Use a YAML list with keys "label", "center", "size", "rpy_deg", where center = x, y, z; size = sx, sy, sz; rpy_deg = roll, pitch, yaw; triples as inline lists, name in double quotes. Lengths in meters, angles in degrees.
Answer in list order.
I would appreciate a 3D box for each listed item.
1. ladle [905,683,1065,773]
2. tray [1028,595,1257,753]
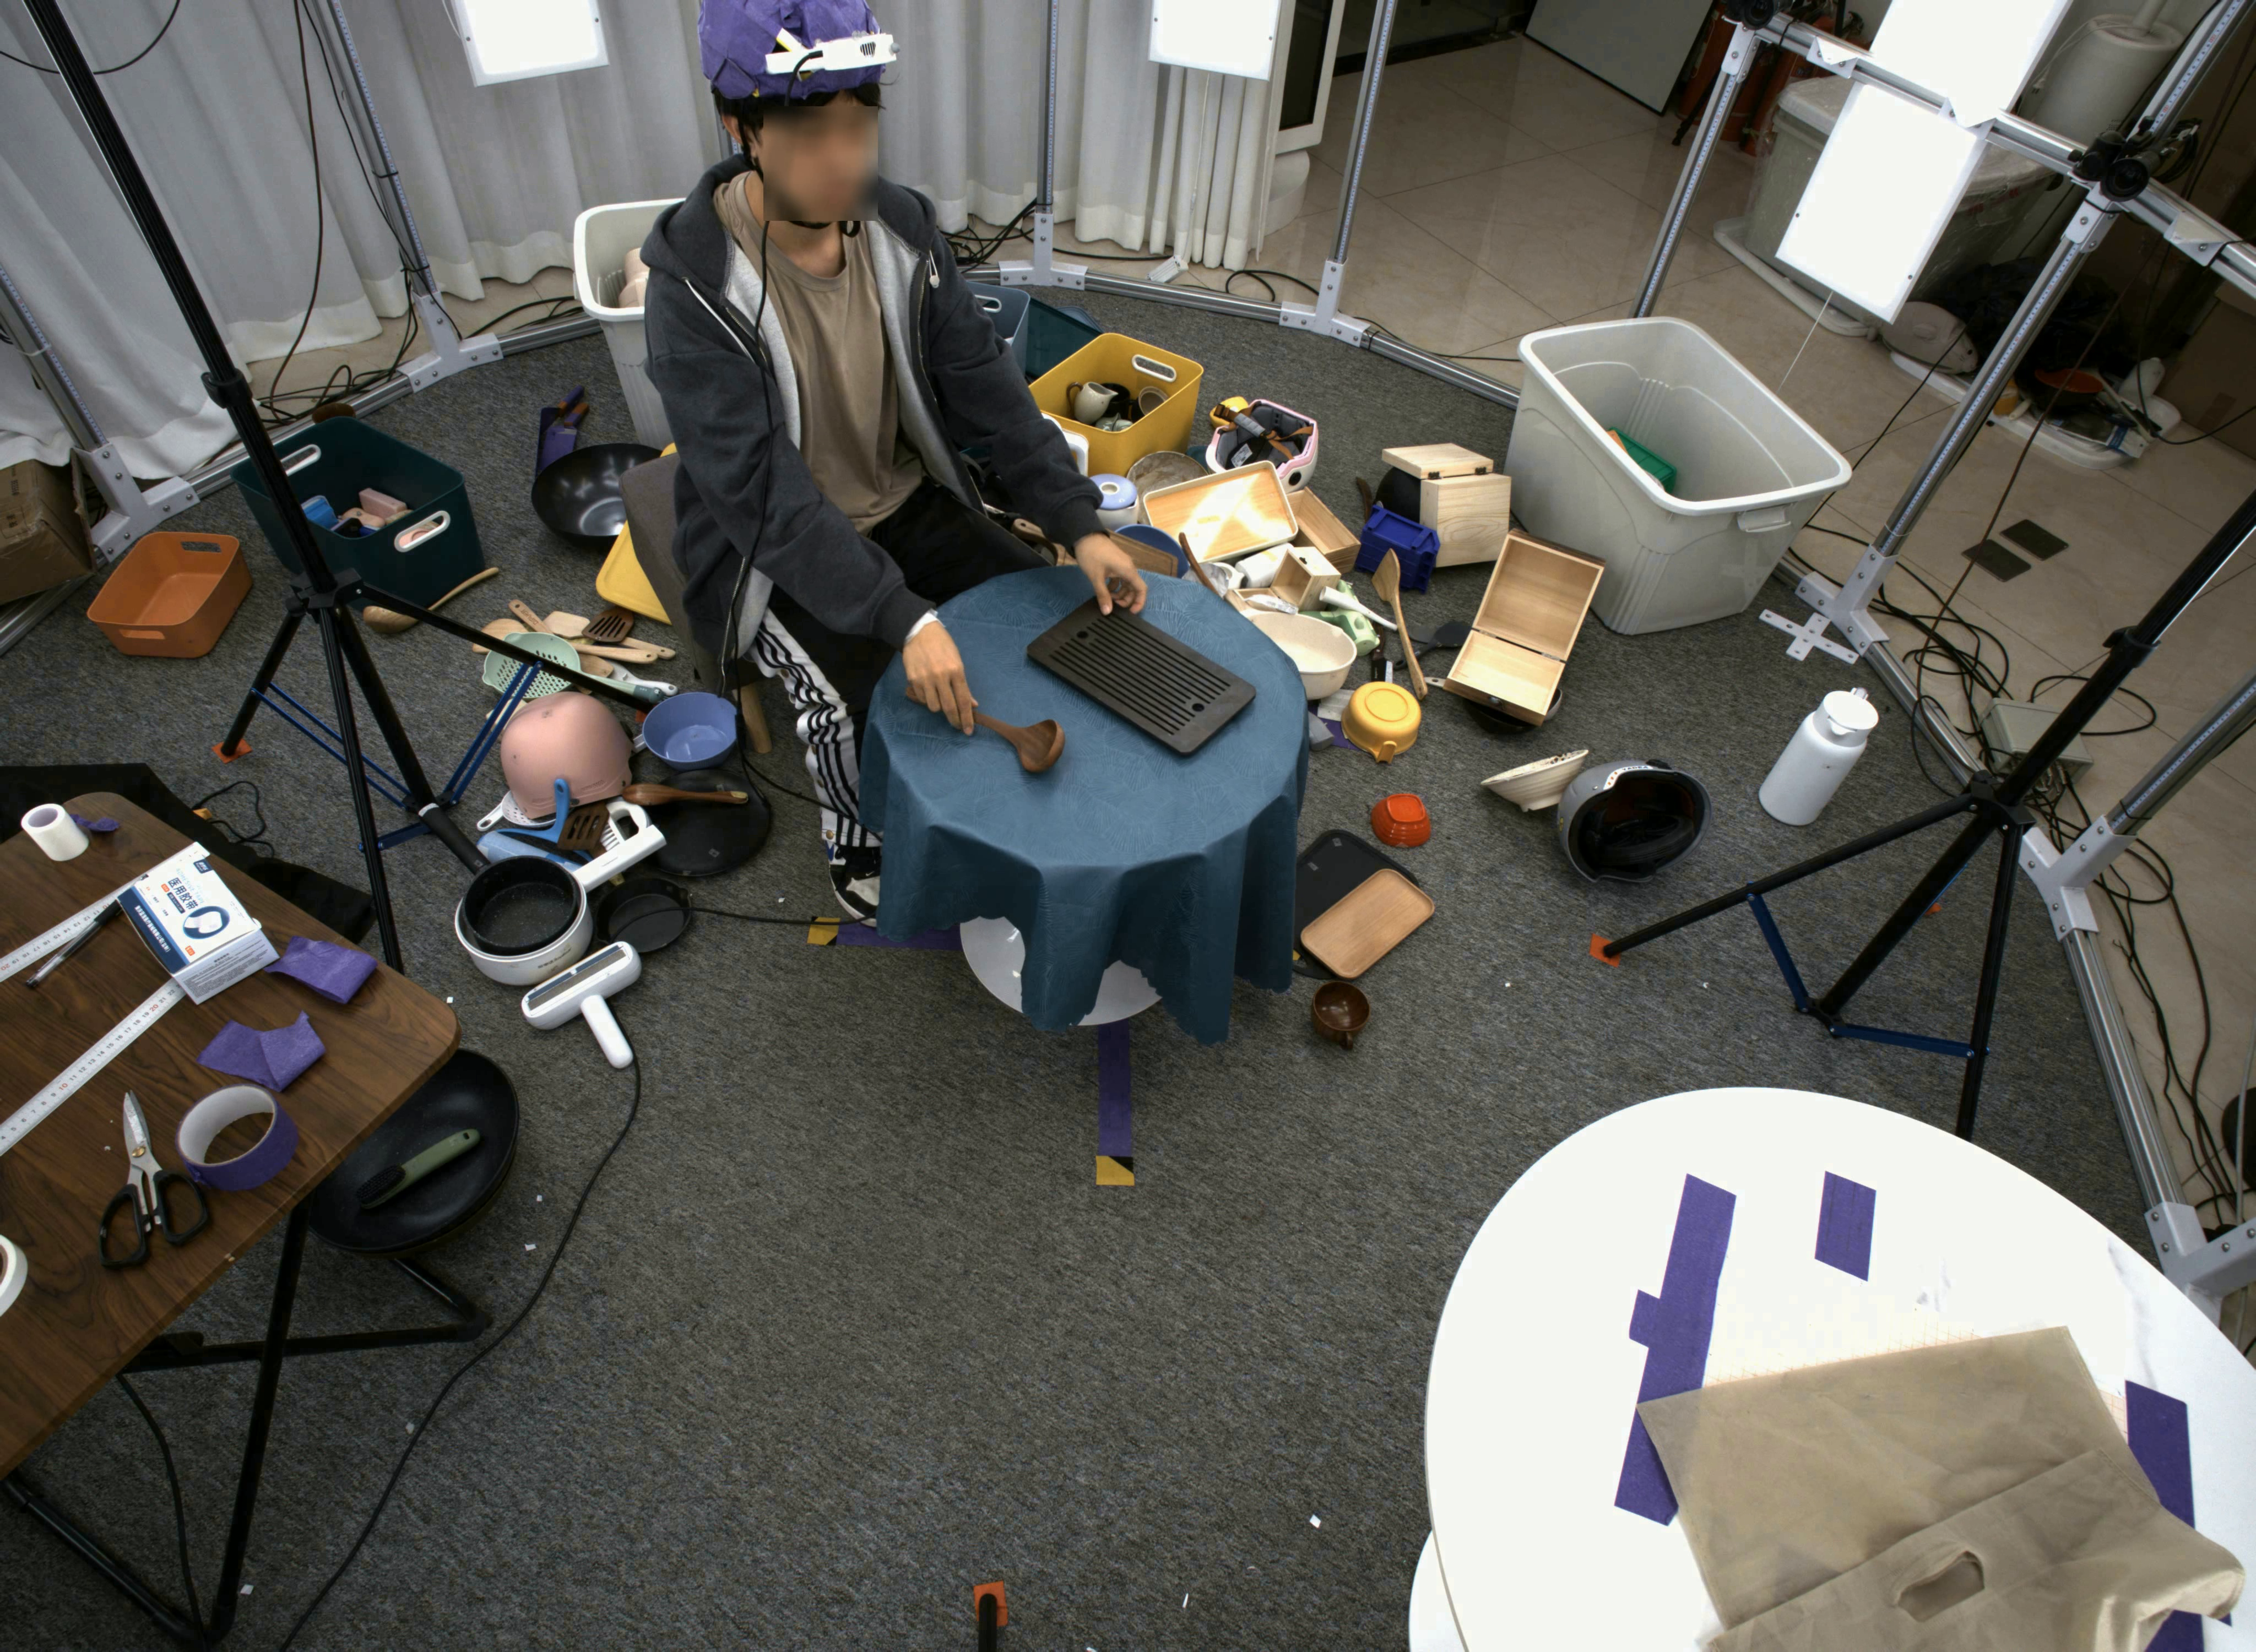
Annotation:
- label: "ladle"
  center: [-0.200, -0.146, 1.739]
  size: [0.262, 0.064, 0.077]
  rpy_deg: [25, 79, 17]
- label: "tray"
  center: [0.019, -0.222, 1.847]
  size: [0.310, 0.018, 0.172]
  rpy_deg: [35, 56, 24]
